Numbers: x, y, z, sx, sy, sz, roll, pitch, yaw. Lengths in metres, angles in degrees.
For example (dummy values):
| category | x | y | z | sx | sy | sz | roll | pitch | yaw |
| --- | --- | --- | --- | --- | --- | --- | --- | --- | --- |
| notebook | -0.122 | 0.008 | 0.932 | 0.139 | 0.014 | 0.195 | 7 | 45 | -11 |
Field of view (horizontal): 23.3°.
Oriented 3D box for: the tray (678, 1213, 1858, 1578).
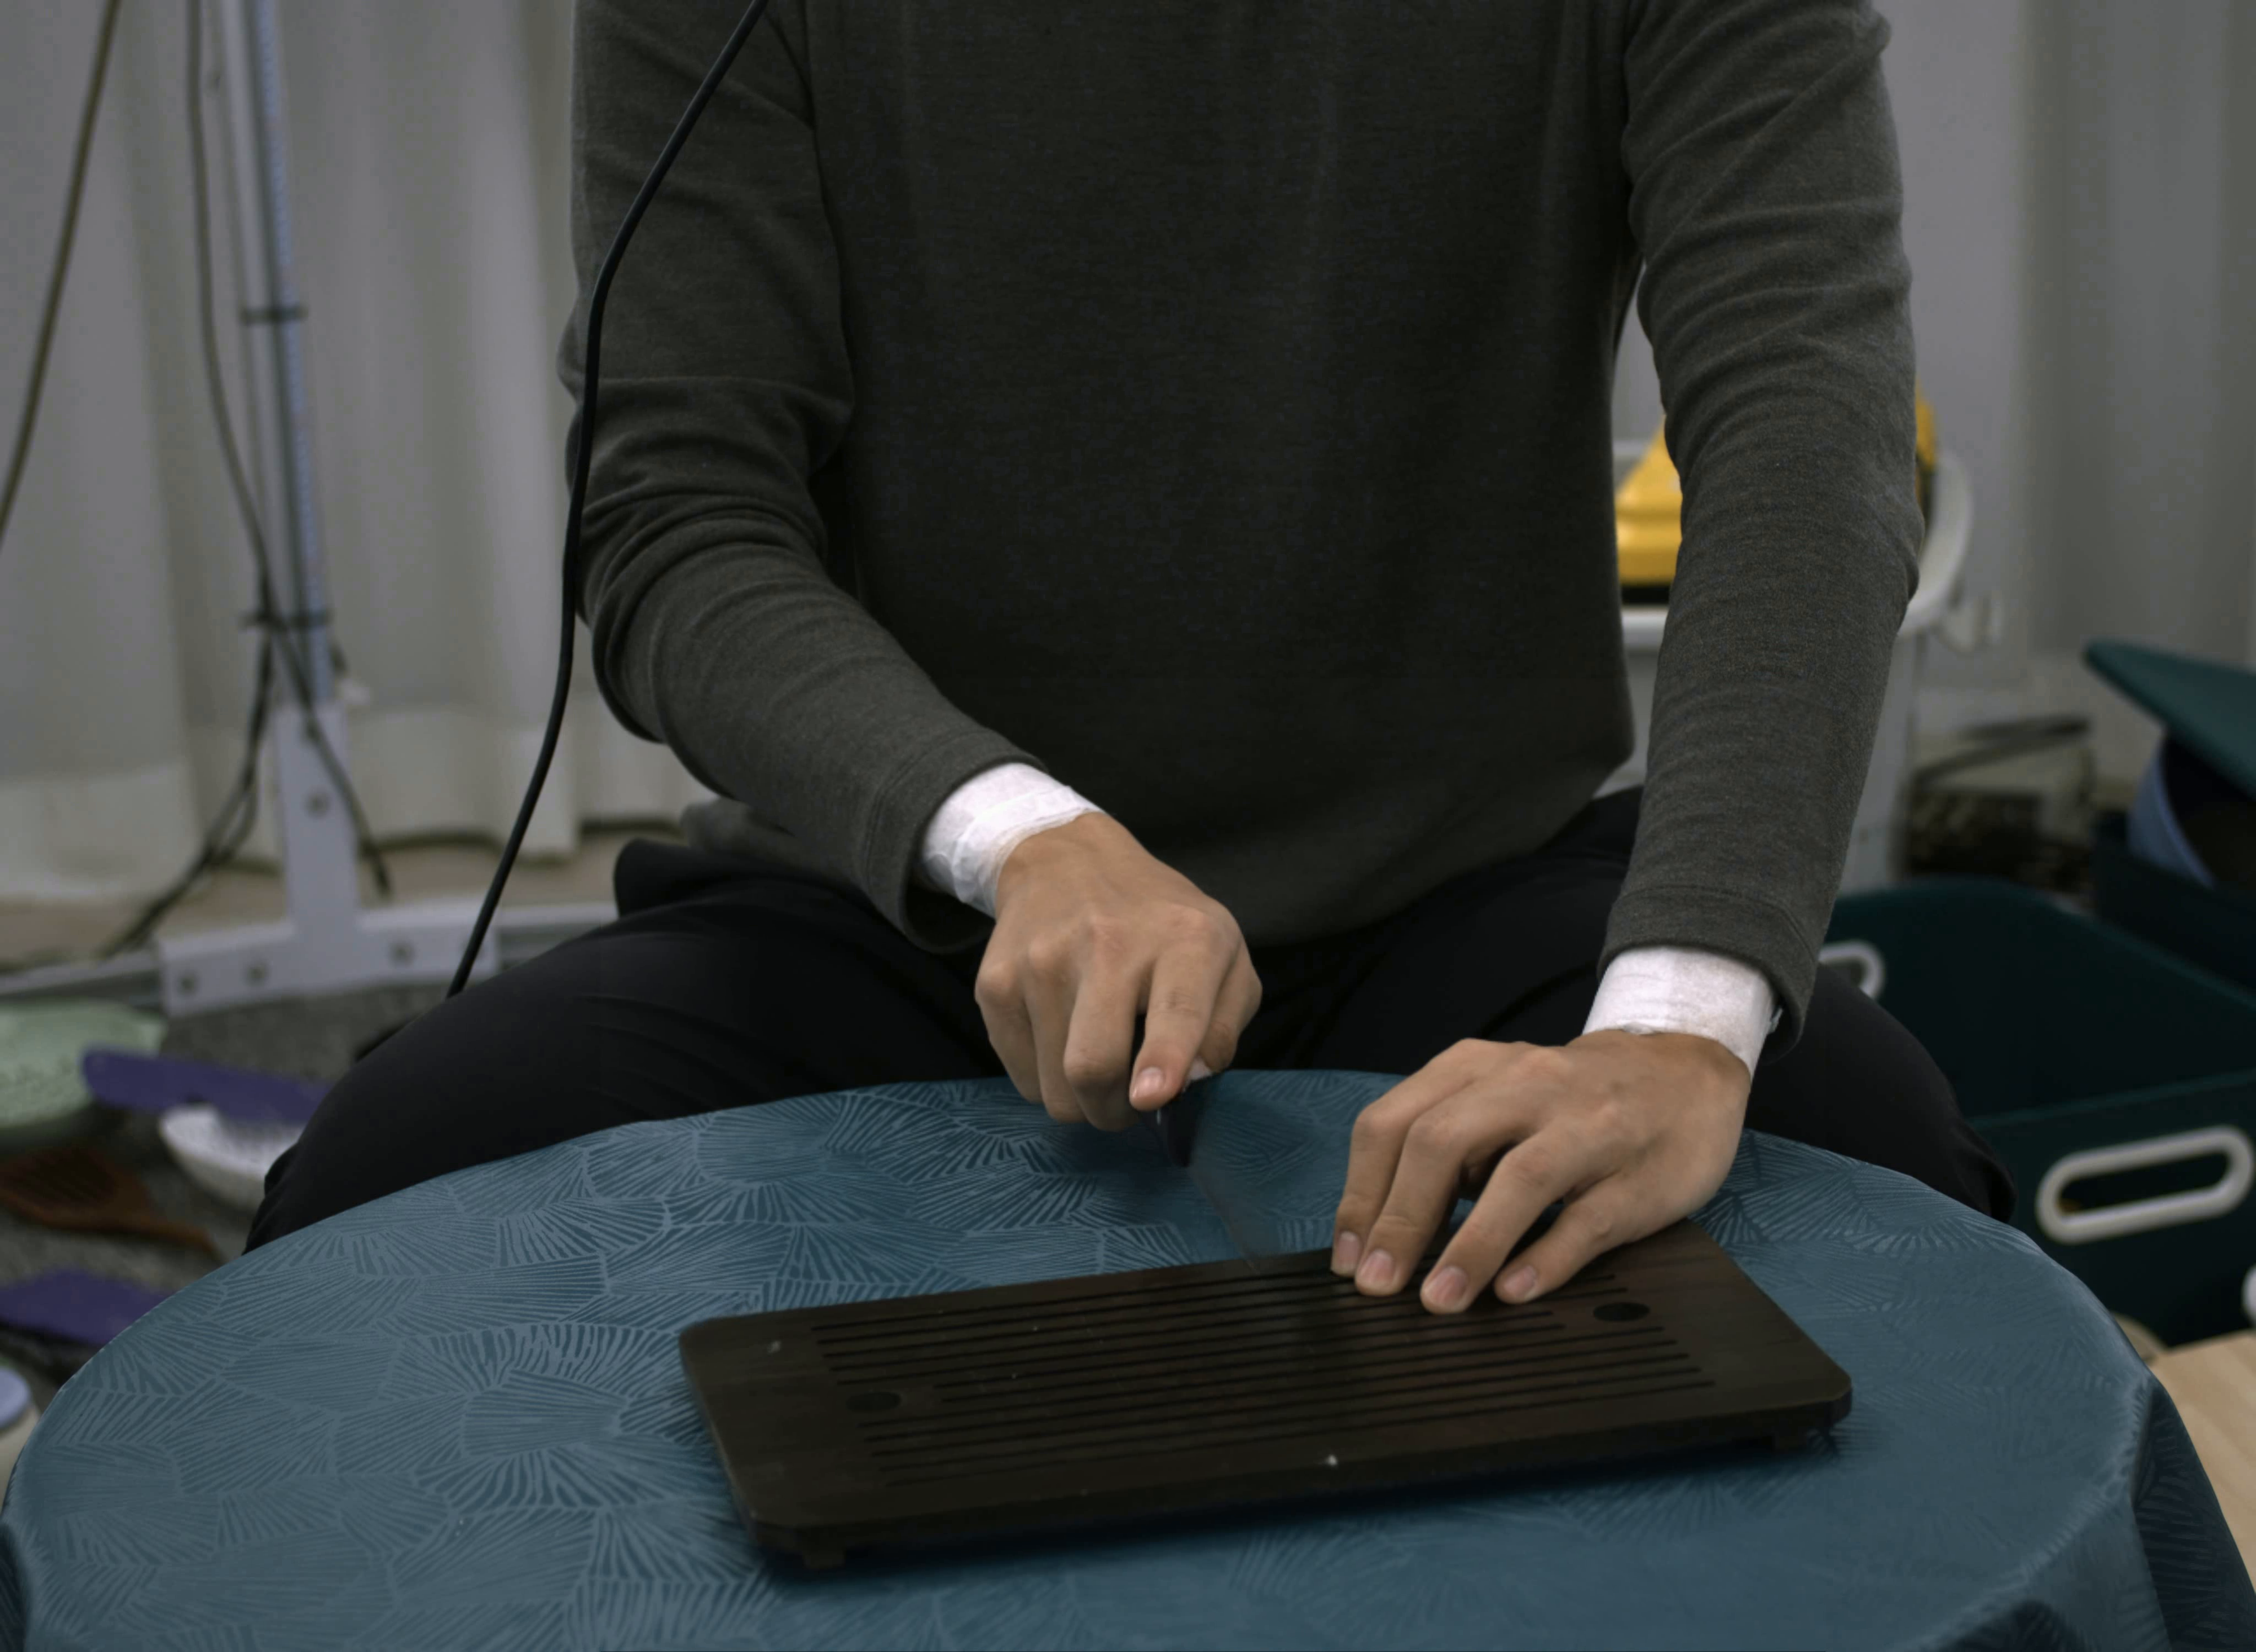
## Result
| category | x | y | z | sx | sy | sz | roll | pitch | yaw |
| --- | --- | --- | --- | --- | --- | --- | --- | --- | --- |
| tray | 0.035 | 0.157 | 1.519 | 0.304 | 0.018 | 0.171 | -6 | 14 | -11 |

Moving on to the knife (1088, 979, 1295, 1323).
| category | x | y | z | sx | sy | sz | roll | pitch | yaw |
| --- | --- | --- | --- | --- | --- | --- | --- | --- | --- |
| knife | 0.020 | 0.095 | 1.653 | 0.016 | 0.024 | 0.240 | 6 | 19 | -16 |
